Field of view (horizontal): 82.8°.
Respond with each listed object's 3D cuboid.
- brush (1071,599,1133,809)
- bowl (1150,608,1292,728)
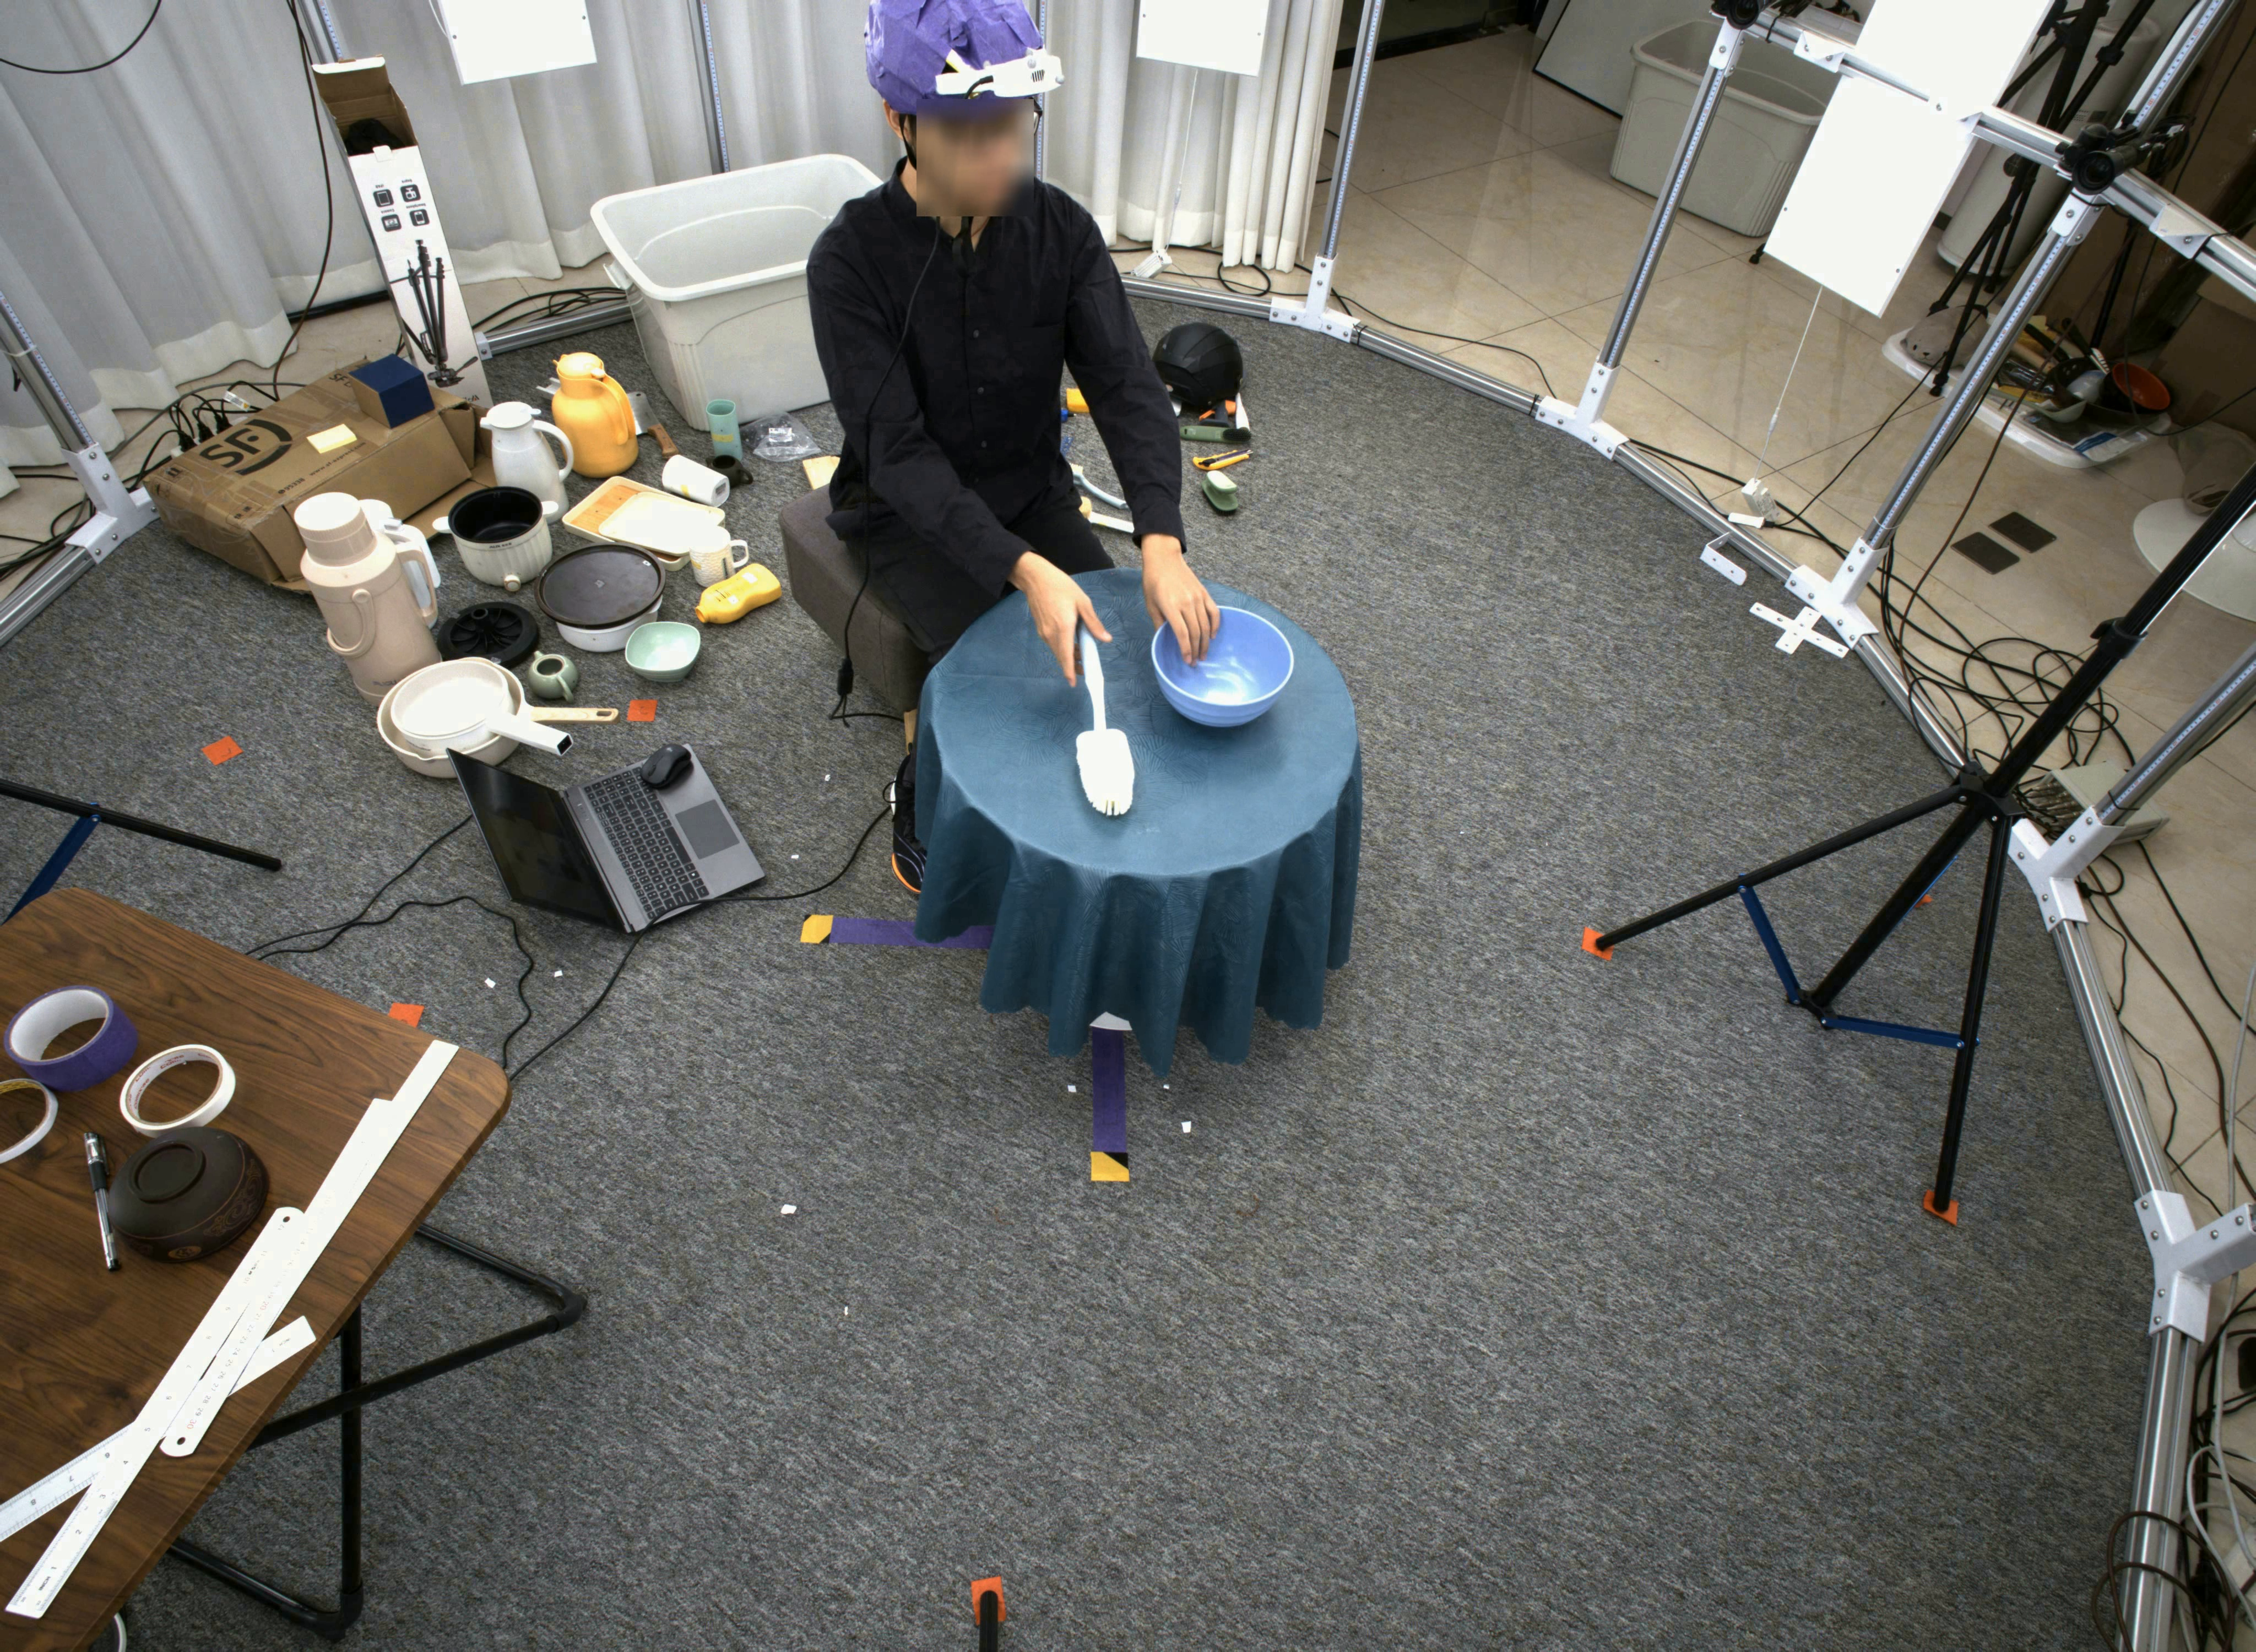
[{"bbox_3d":[-0.041,-0.164,1.754,0.082,0.084,0.332,17,51,-41],"label":"brush"},{"bbox_3d":[0.126,-0.206,1.800,0.196,0.093,0.201,2,49,-2],"label":"bowl"}]
